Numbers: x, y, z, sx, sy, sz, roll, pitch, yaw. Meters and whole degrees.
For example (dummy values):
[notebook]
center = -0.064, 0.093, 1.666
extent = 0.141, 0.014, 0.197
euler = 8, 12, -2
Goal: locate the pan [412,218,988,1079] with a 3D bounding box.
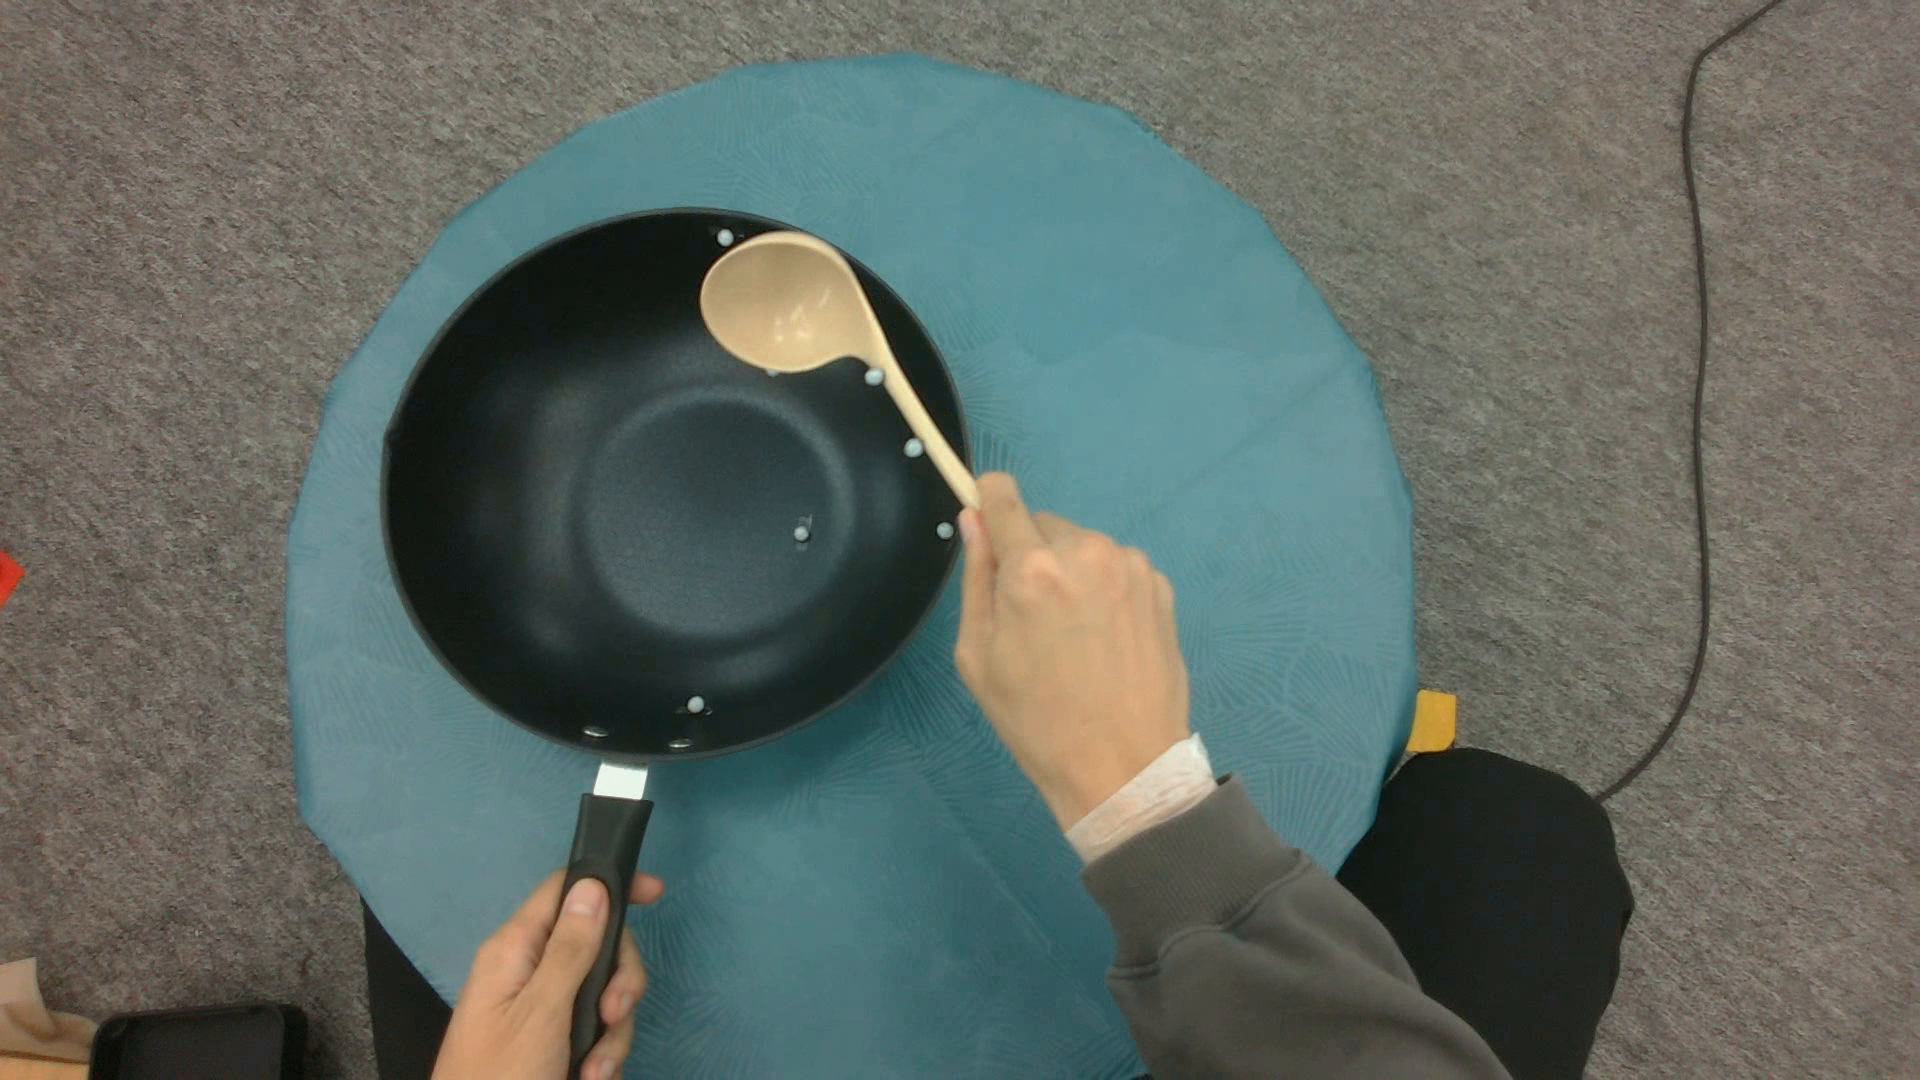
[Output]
[pan]
center = -0.141, 0.066, 0.691
extent = 0.288, 0.086, 0.464
euler = 8, 76, 3

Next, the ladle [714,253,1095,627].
[ladle]
center = -0.035, -0.045, 0.617
extent = 0.073, 0.072, 0.255
euler = -1, 39, -36
